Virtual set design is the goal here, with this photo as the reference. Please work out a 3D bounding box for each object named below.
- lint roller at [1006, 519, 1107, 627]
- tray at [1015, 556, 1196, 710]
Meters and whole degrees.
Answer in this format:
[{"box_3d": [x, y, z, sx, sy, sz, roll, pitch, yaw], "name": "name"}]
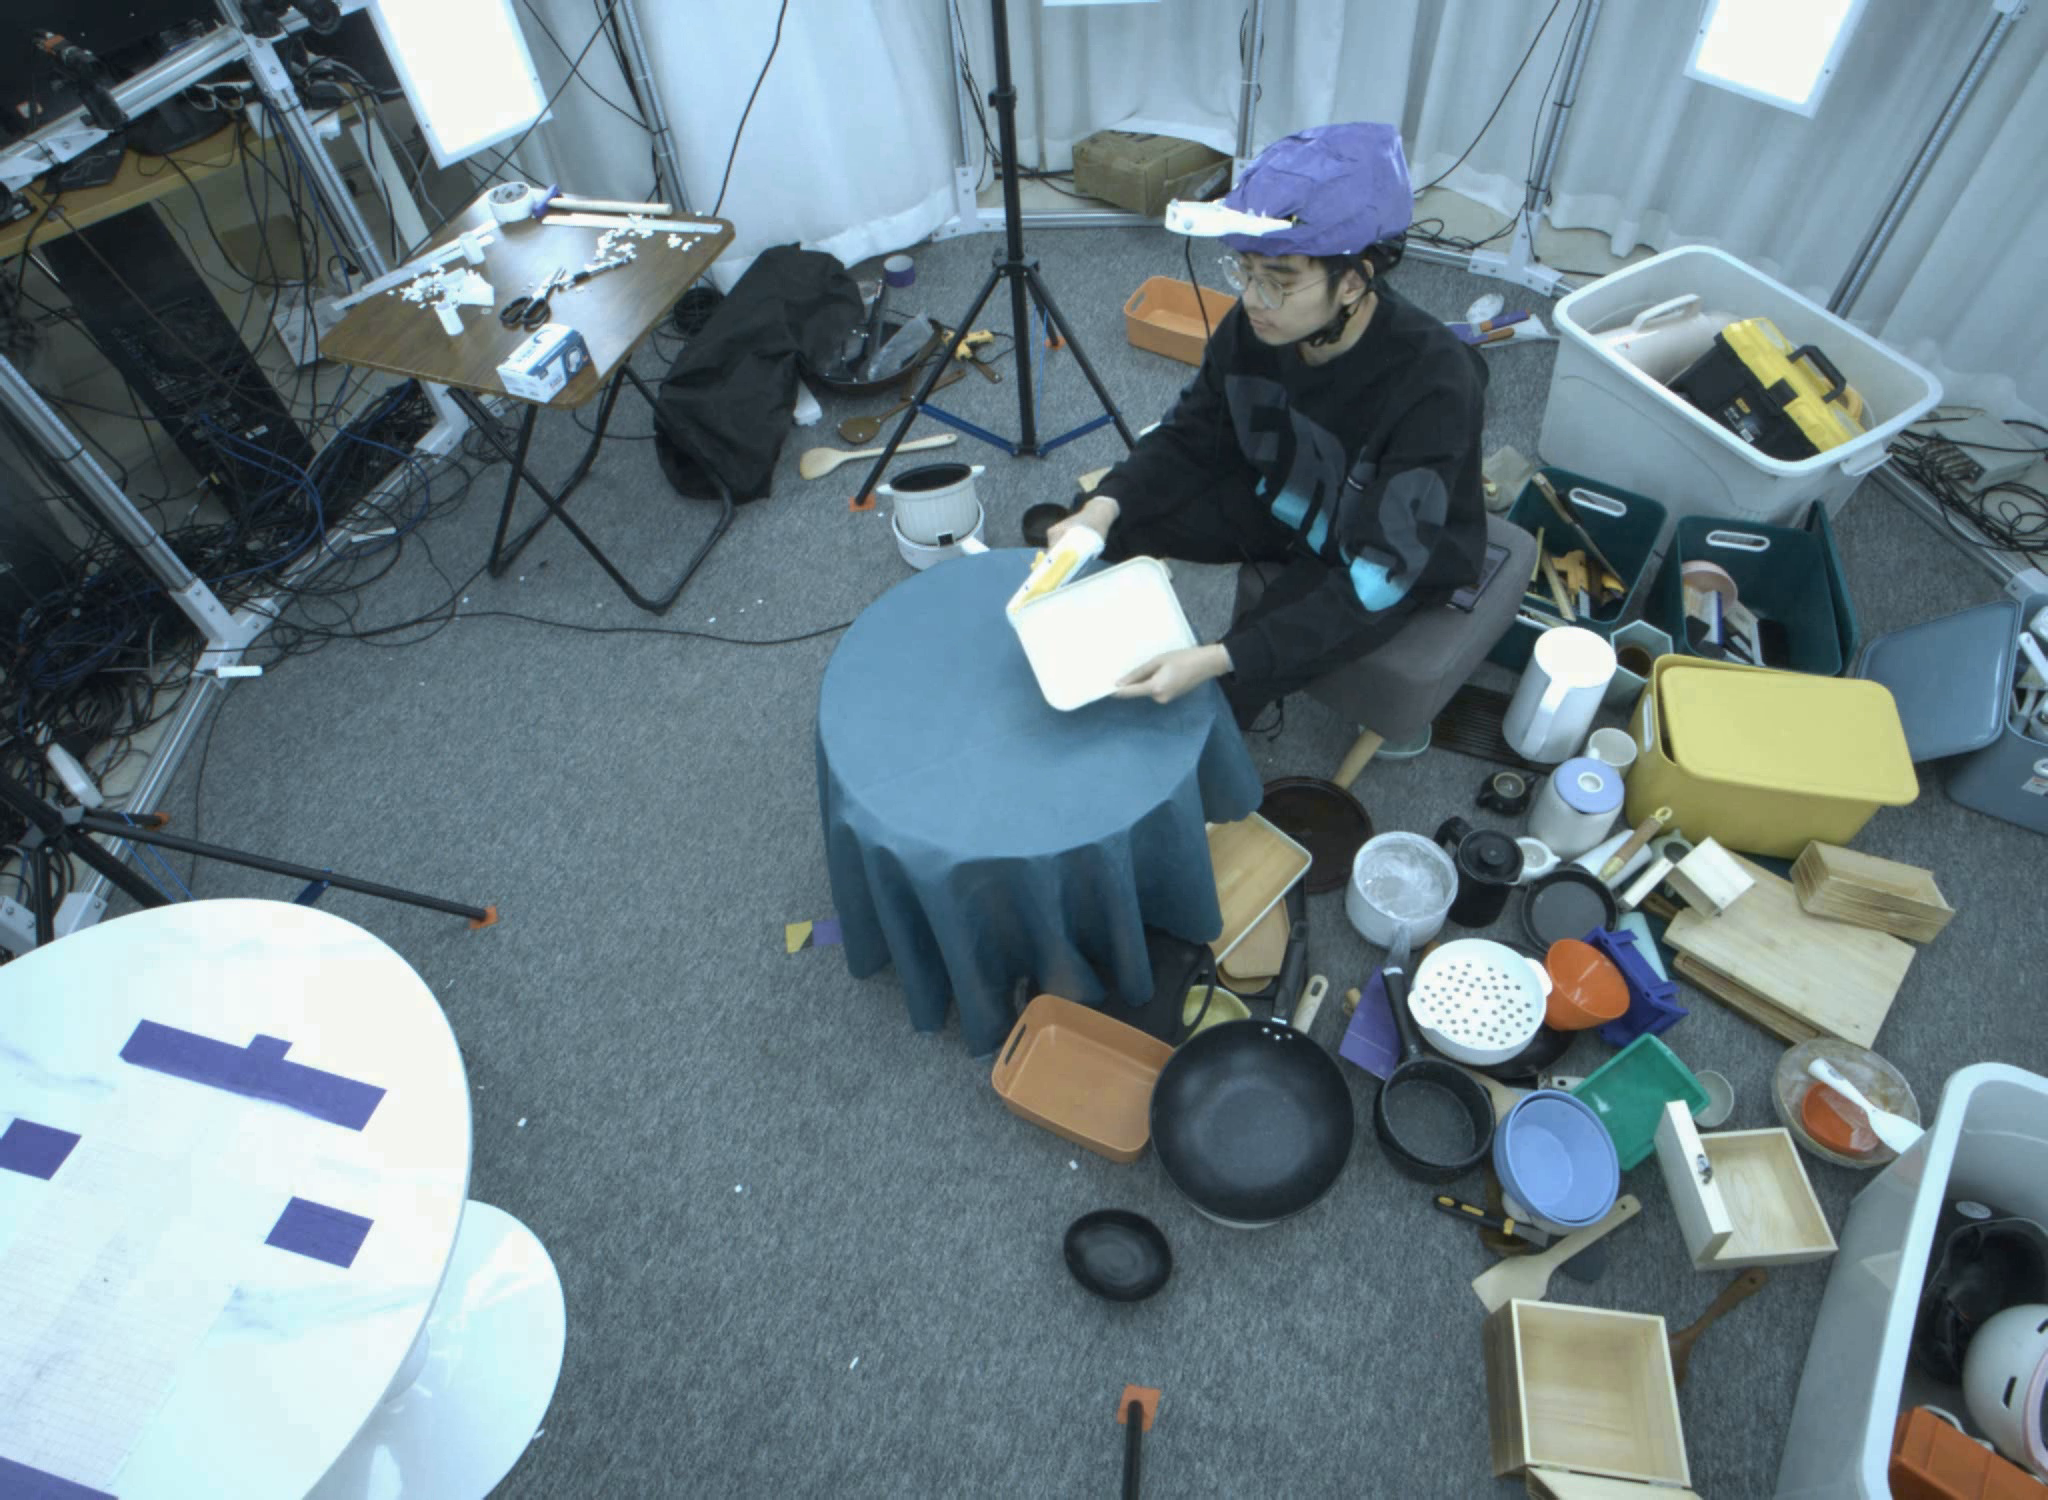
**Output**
[{"box_3d": [0.059, -0.279, 1.843, 0.074, 0.192, 0.193, 39, 28, 3], "name": "lint roller"}, {"box_3d": [0.117, -0.169, 1.777, 0.241, 0.017, 0.171, -22, 89, -11], "name": "tray"}]
